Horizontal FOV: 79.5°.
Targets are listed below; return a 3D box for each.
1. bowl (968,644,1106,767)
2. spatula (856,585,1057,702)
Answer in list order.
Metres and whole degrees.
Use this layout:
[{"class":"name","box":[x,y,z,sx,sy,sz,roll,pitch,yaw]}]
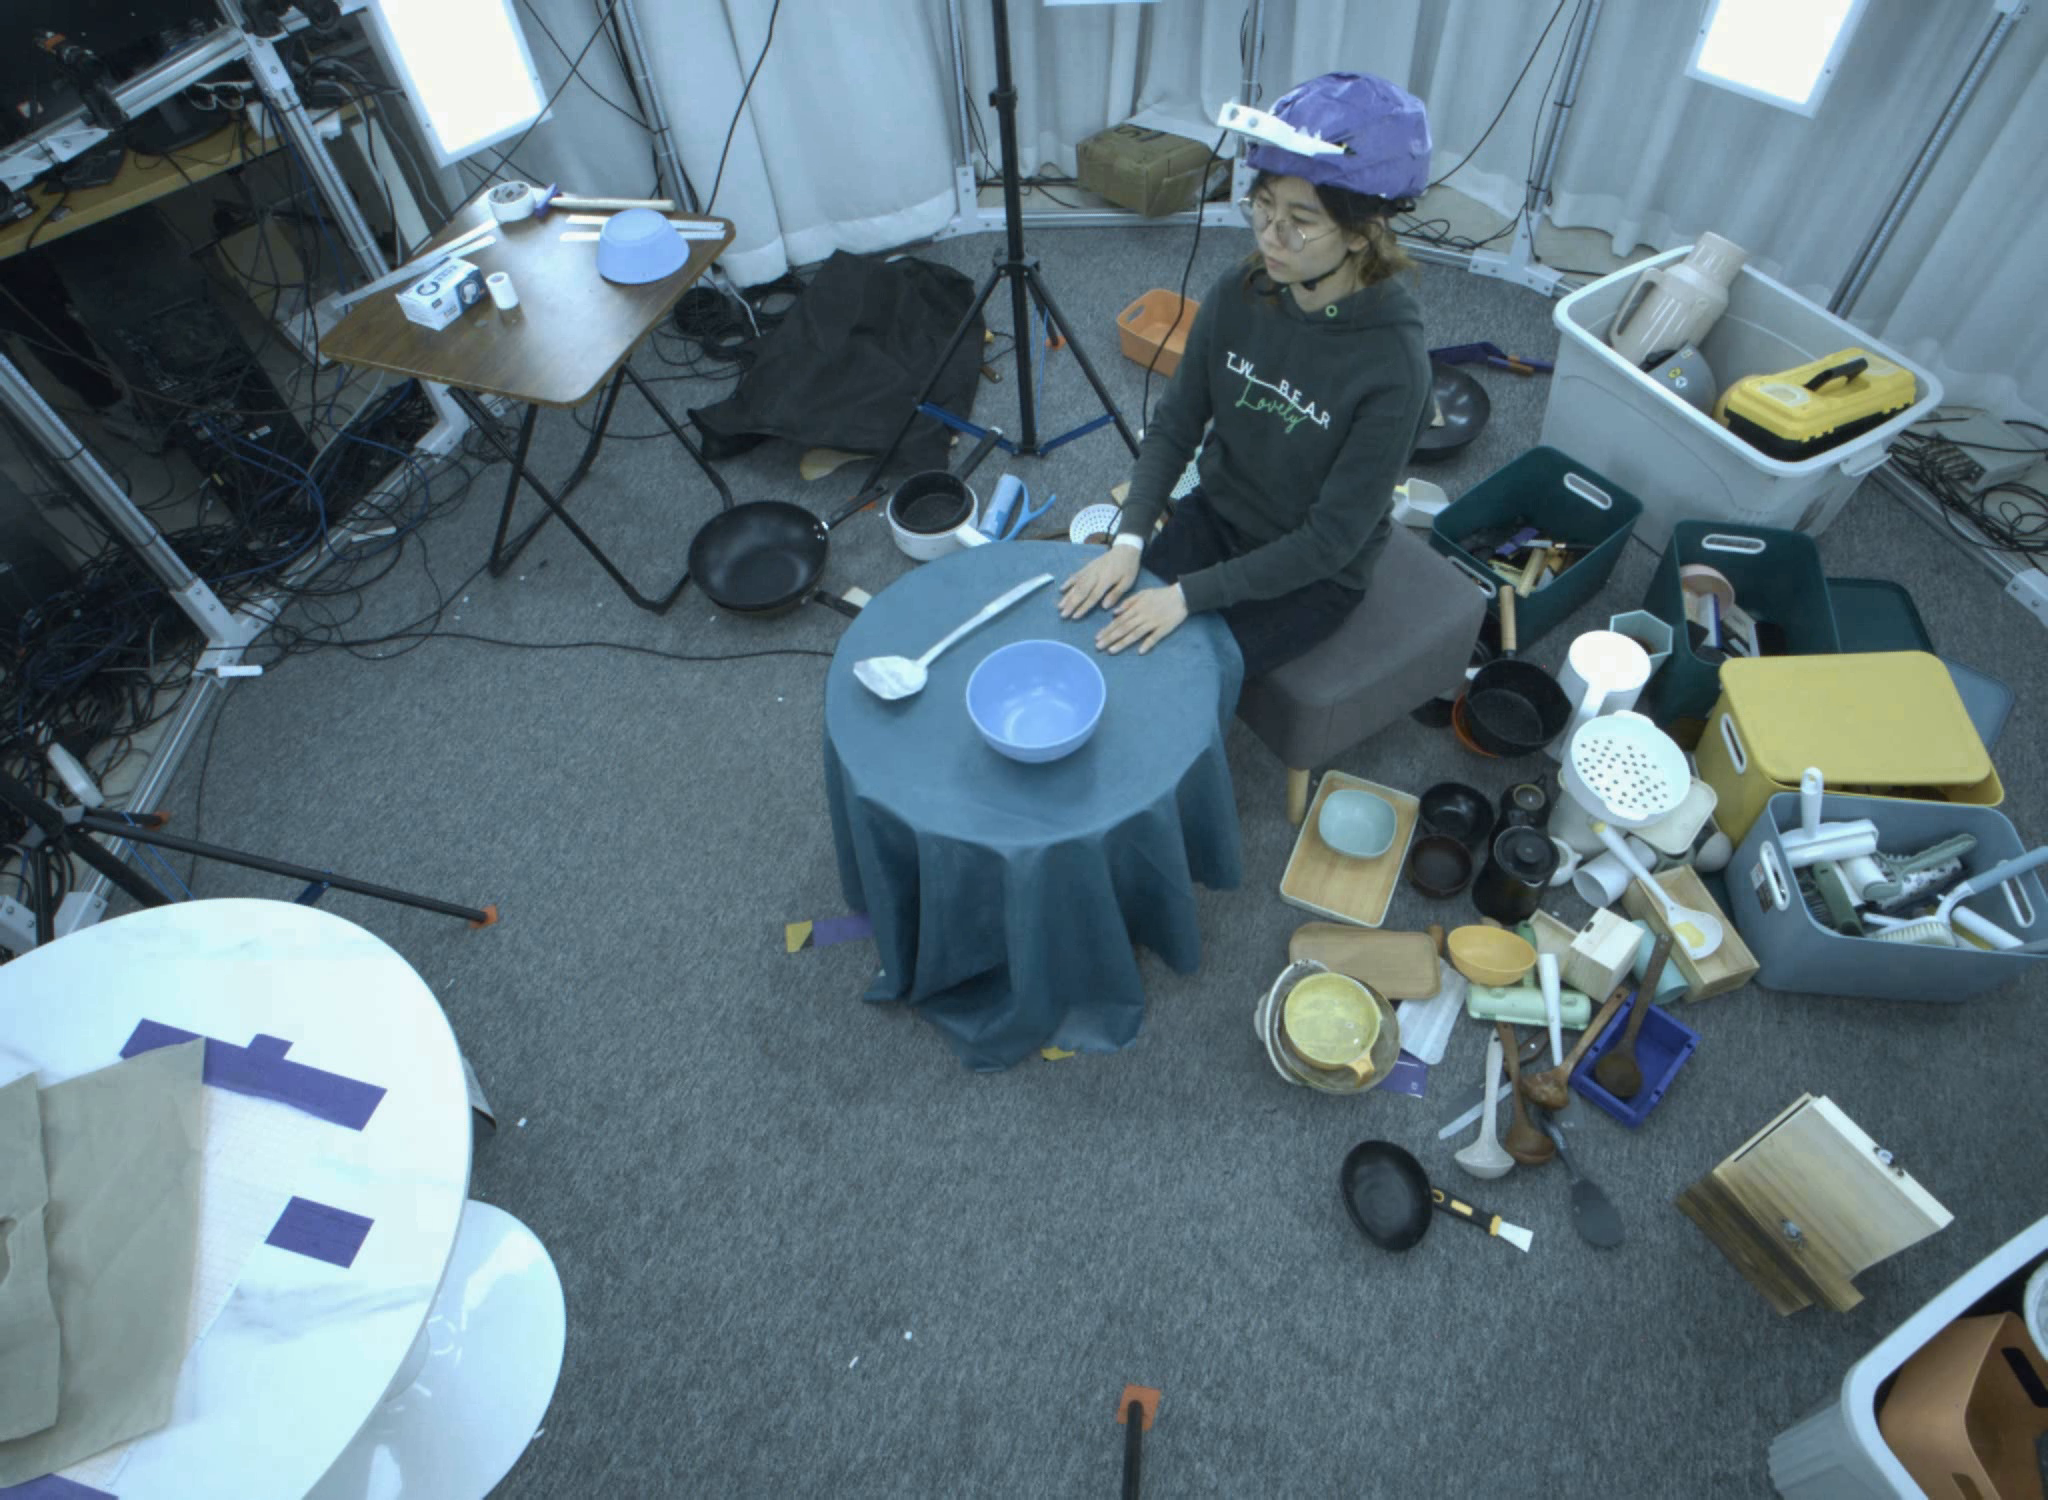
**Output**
[{"class":"bowl","box":[0.022,-0.050,1.773,0.196,0.096,0.194,-1,55,3]},{"class":"spatula","box":[-0.095,-0.179,1.903,0.367,0.045,0.097,-36,59,-21]}]
